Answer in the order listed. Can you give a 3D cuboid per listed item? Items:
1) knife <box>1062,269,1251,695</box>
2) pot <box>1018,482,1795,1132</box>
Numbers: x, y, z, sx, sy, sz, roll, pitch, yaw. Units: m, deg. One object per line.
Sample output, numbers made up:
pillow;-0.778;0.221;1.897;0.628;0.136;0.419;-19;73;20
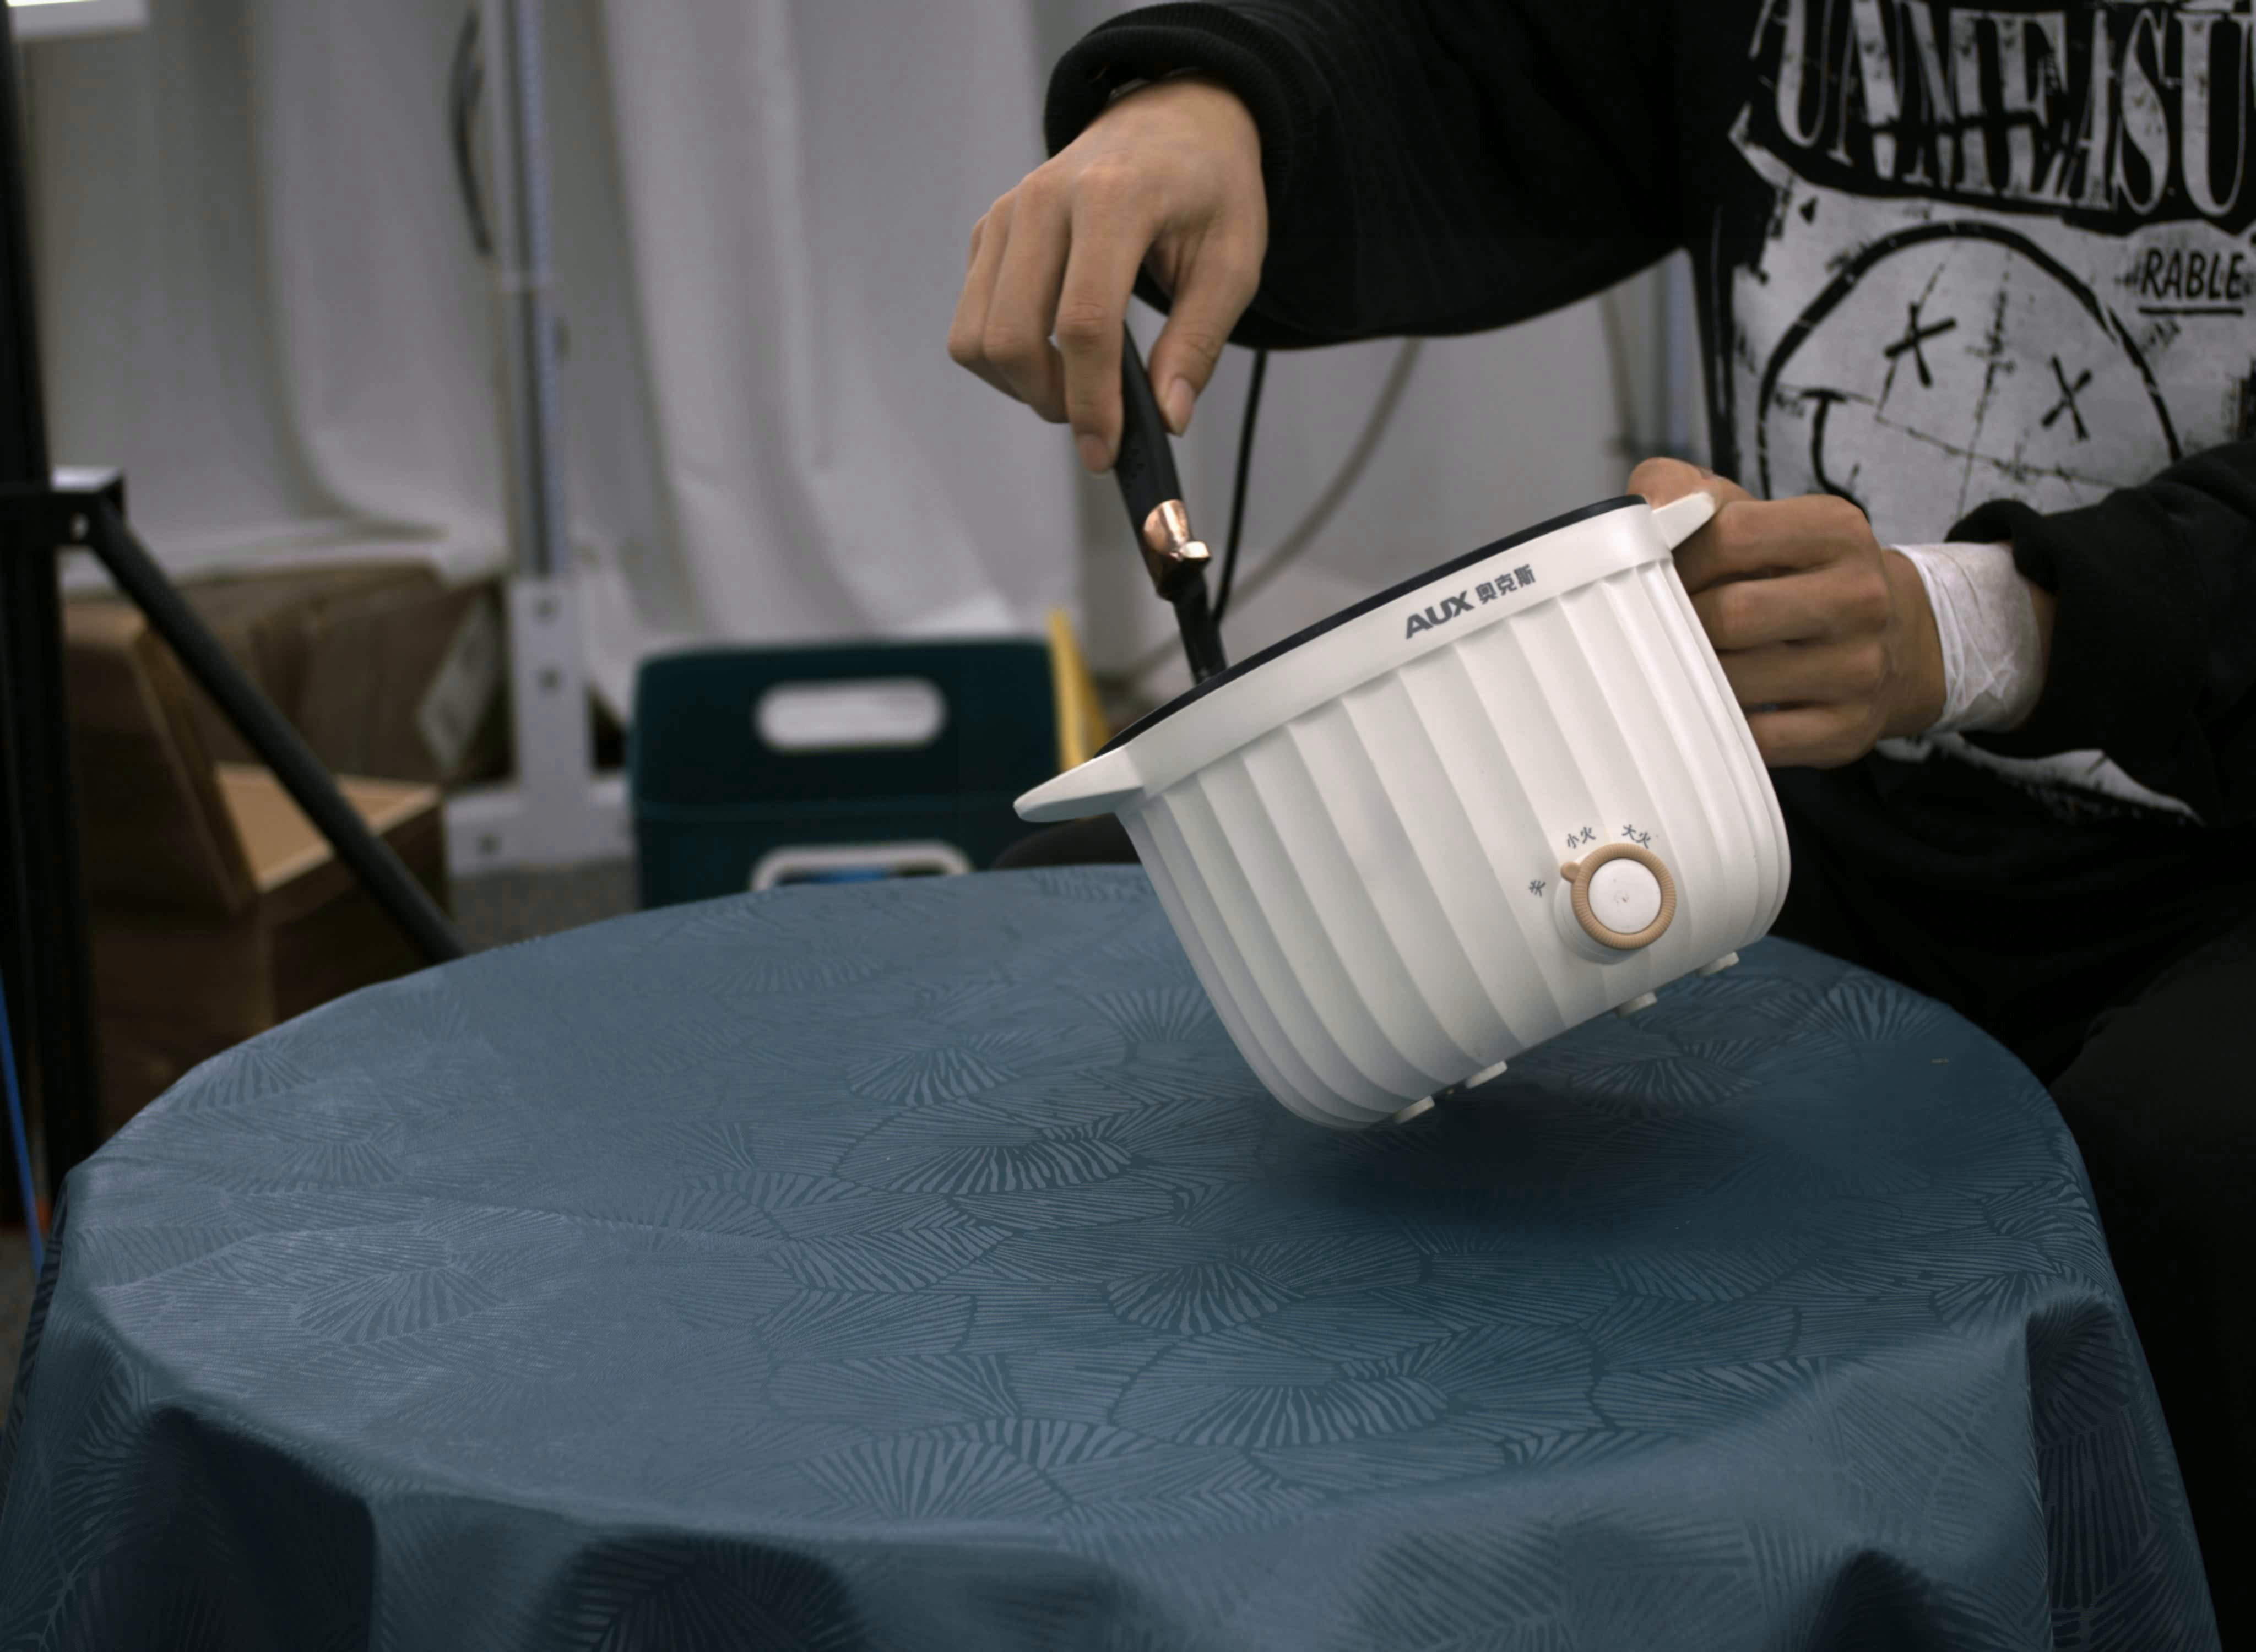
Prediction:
knife;0.020;-0.072;1.589;0.026;0.229;0.017;-33;-28;28
pot;0.102;0.001;1.550;0.237;0.144;0.191;-25;-9;-16
